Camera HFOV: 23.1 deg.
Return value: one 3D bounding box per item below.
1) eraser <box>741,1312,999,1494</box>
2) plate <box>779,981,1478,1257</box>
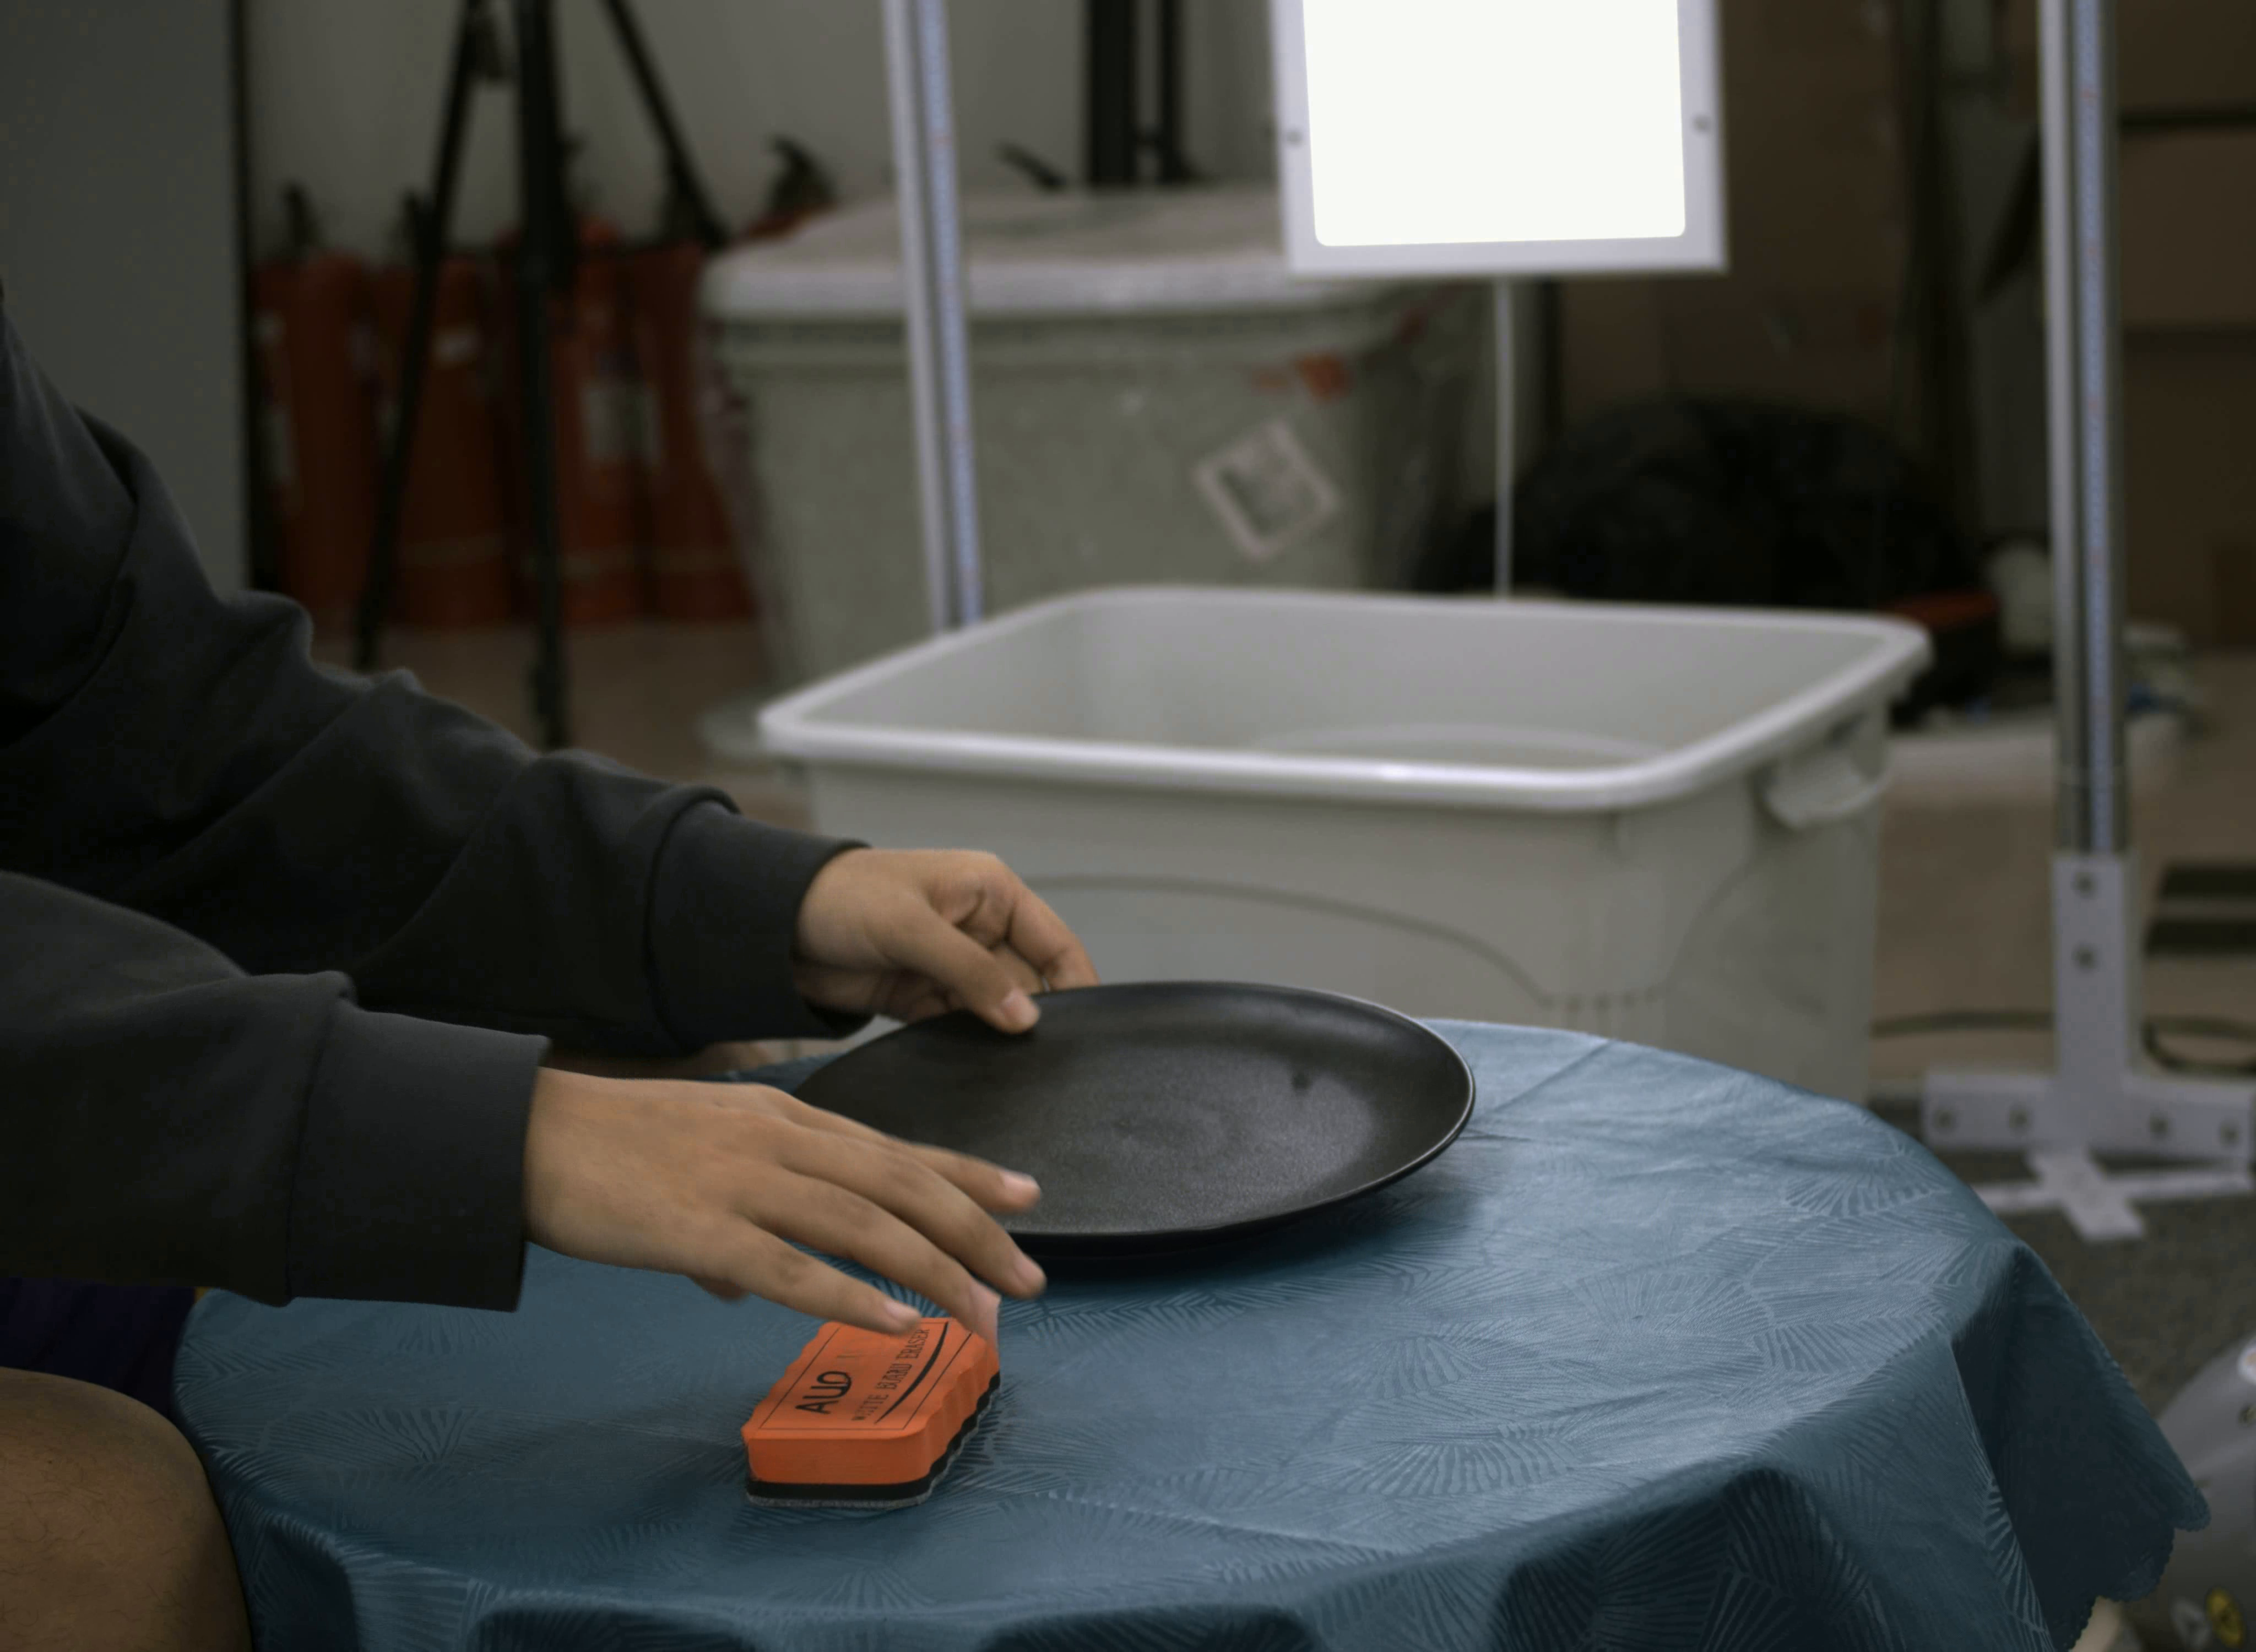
[{"bbox_3d":[-0.077,0.174,1.671,0.059,0.023,0.106,-1,13,13],"label":"eraser"},{"bbox_3d":[0.000,0.105,1.910,0.244,0.023,0.244,-5,18,0],"label":"plate"}]
